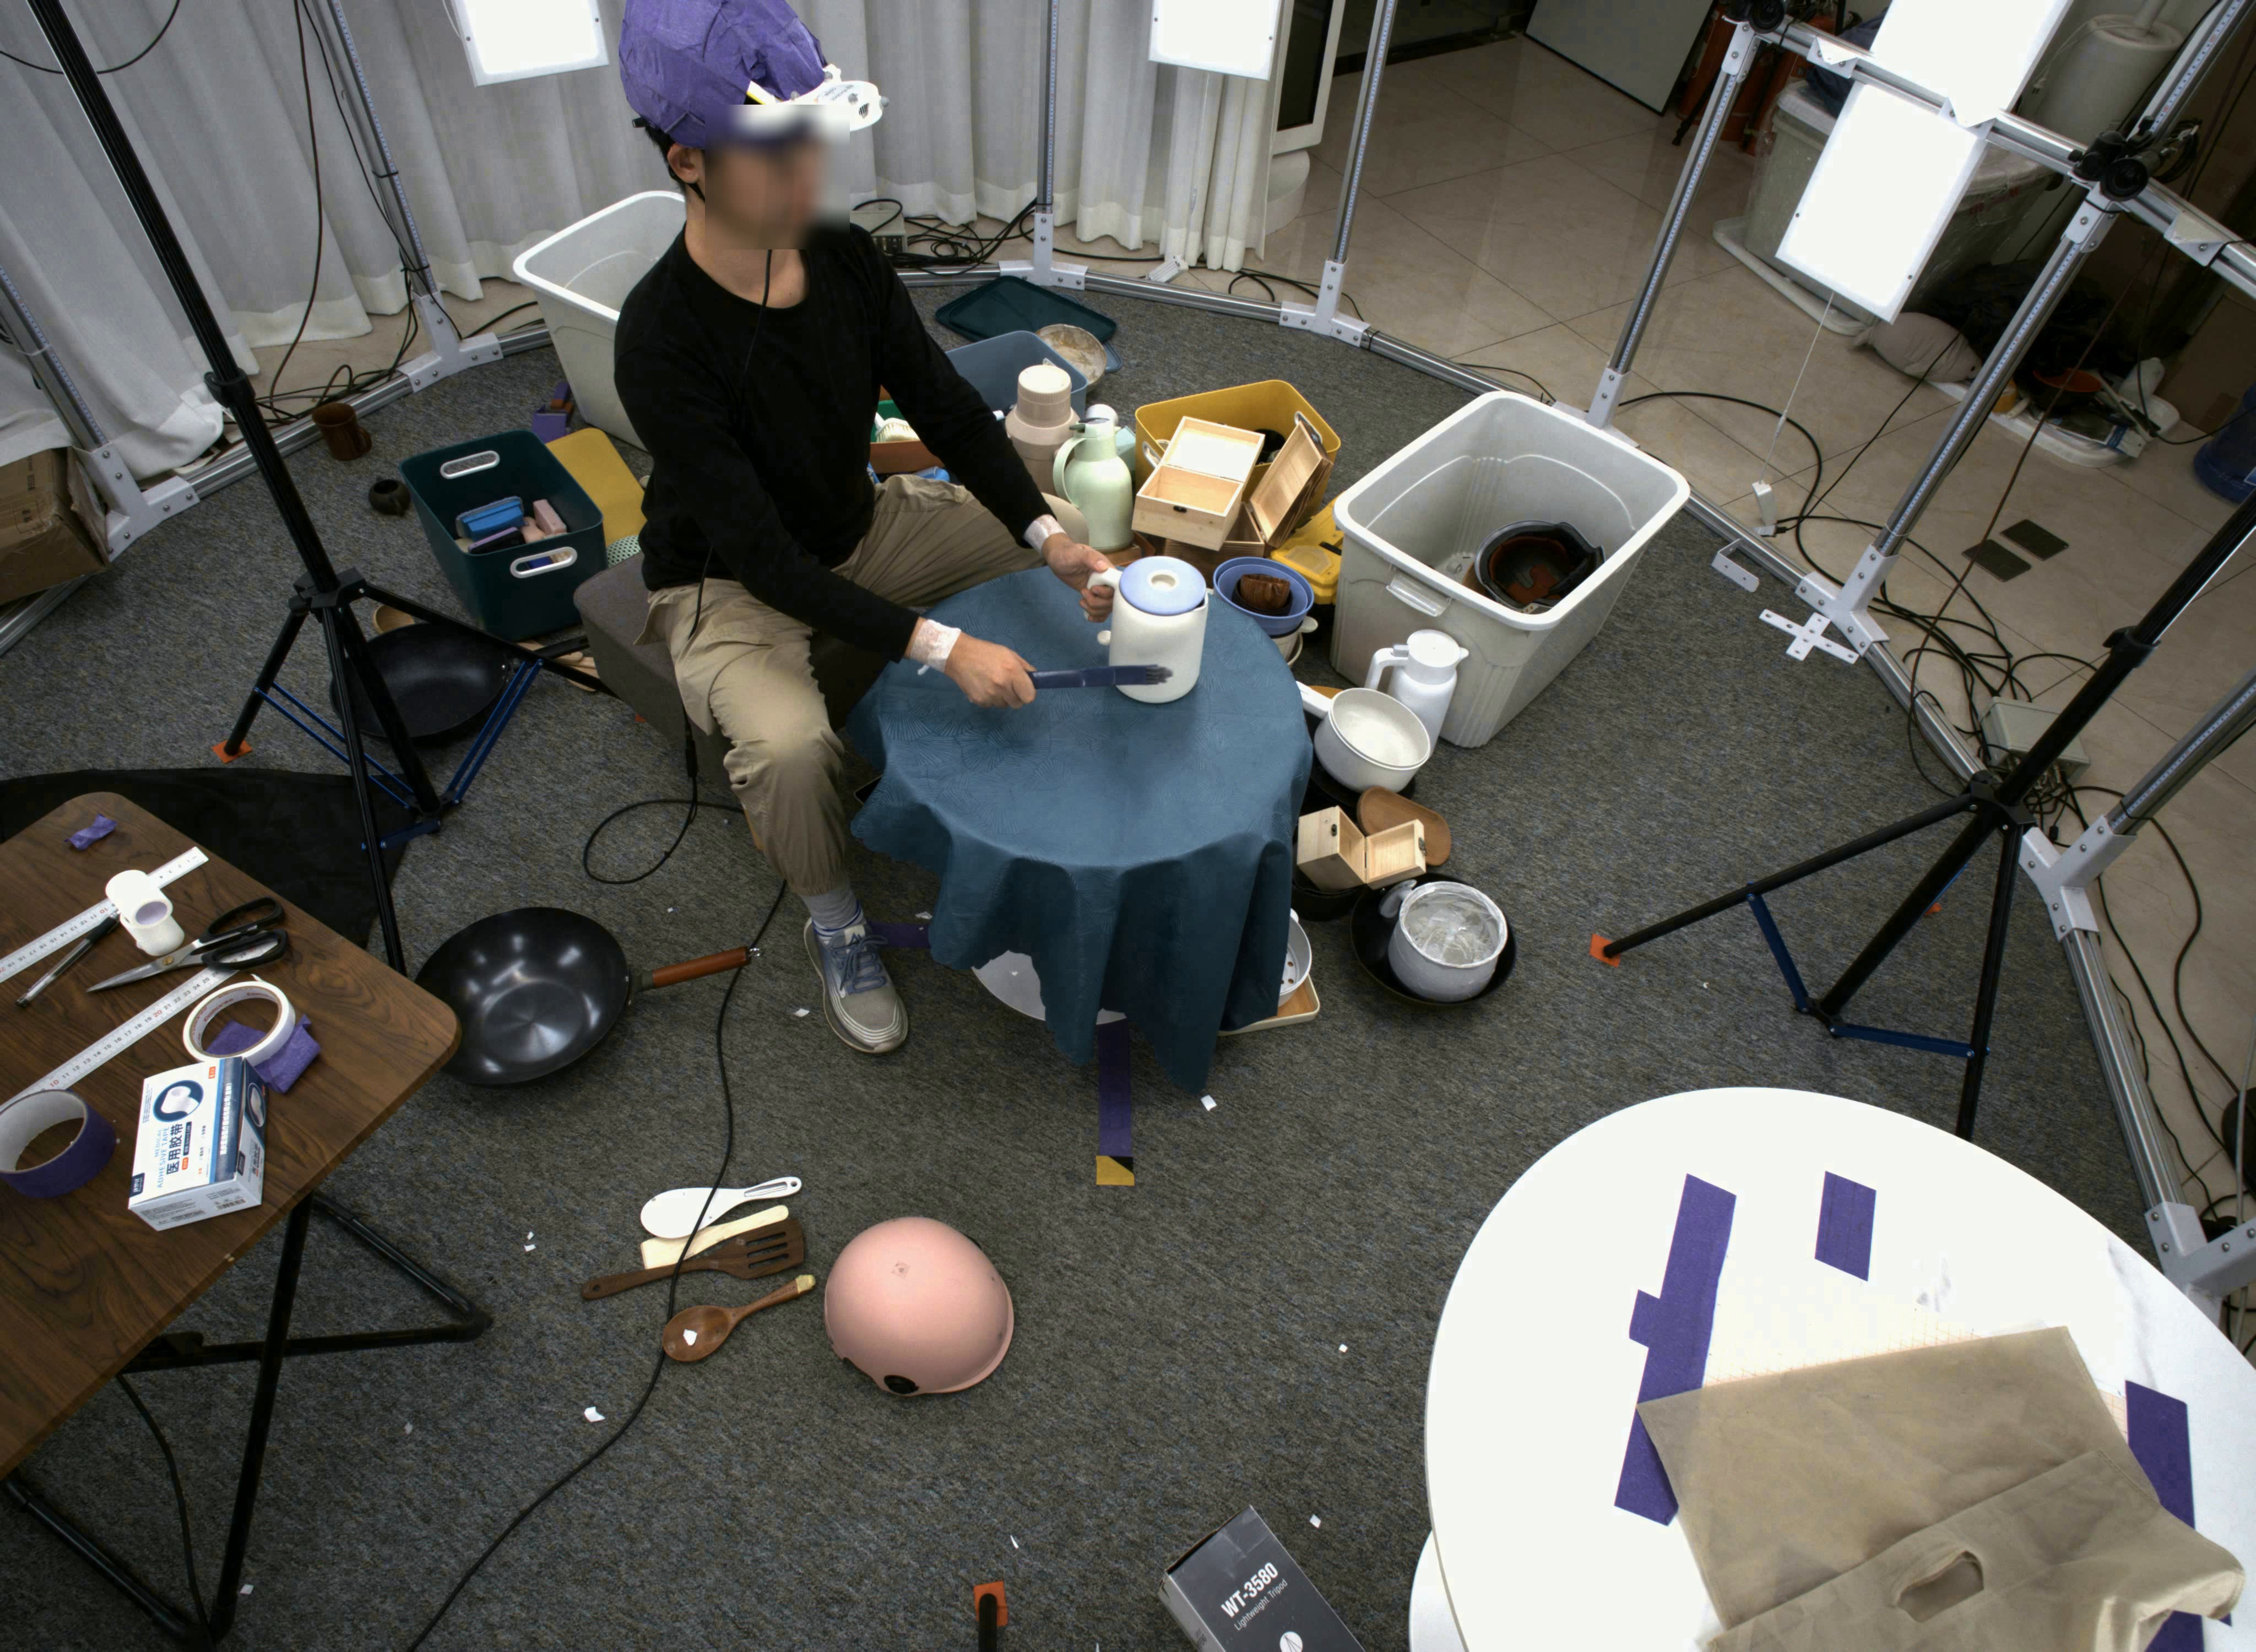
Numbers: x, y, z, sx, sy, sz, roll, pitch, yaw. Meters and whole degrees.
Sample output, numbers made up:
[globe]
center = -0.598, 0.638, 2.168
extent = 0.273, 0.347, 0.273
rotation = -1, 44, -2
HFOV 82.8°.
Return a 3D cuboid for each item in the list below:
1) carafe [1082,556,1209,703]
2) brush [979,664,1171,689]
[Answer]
[carafe]
center = 0.020, -0.285, 1.808
extent = 0.192, 0.178, 0.134
rotation = 25, 52, 18
[brush]
center = -0.078, -0.199, 1.703
extent = 0.273, 0.033, 0.096
rotation = -2, 14, 15
